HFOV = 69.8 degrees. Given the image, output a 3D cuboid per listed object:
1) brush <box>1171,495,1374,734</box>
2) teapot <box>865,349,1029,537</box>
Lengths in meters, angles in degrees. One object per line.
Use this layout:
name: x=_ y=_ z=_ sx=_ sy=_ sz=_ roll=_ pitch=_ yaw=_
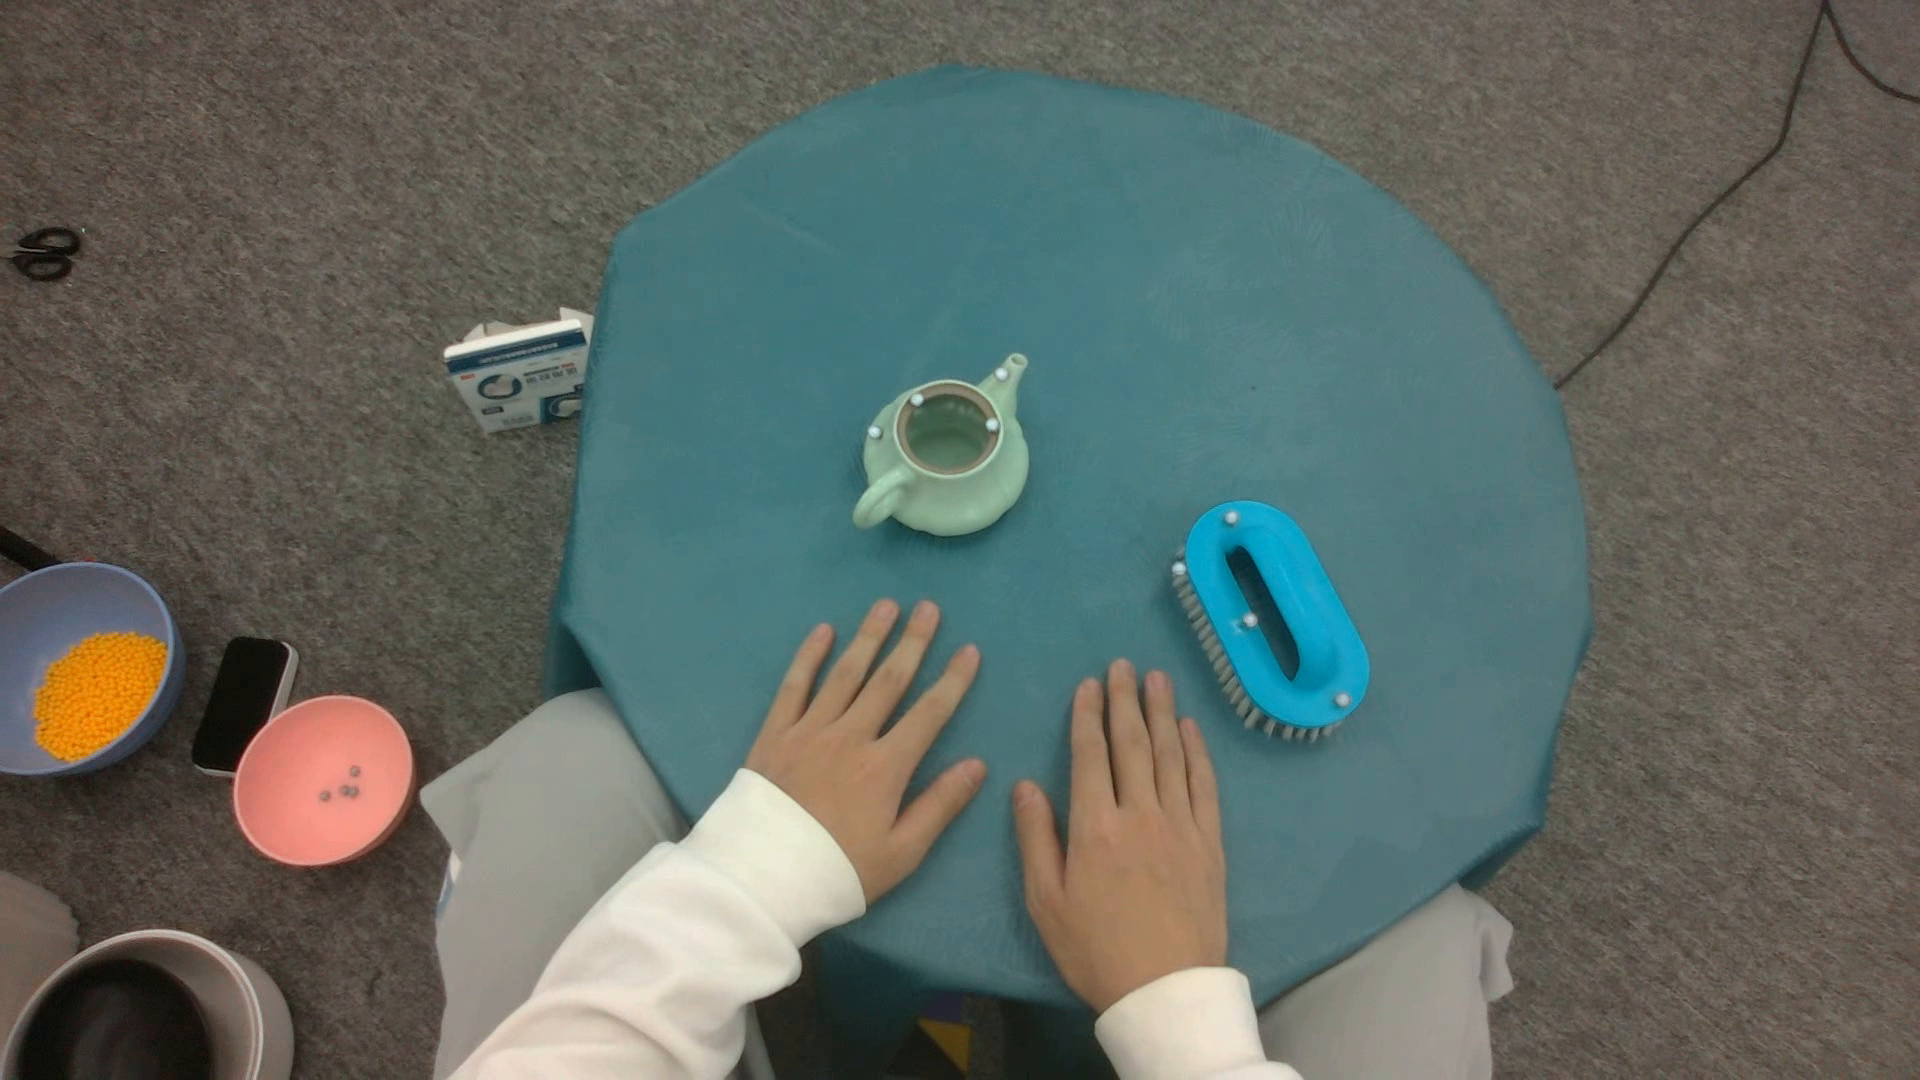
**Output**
brush: x=0.179 y=0.033 z=0.768 sx=0.084 sy=0.063 sz=0.142 roll=-17 pitch=68 yaw=-14
teapot: x=-0.009 y=-0.050 z=0.803 sx=0.096 sy=0.061 sz=0.137 roll=38 pitch=70 yaw=11
